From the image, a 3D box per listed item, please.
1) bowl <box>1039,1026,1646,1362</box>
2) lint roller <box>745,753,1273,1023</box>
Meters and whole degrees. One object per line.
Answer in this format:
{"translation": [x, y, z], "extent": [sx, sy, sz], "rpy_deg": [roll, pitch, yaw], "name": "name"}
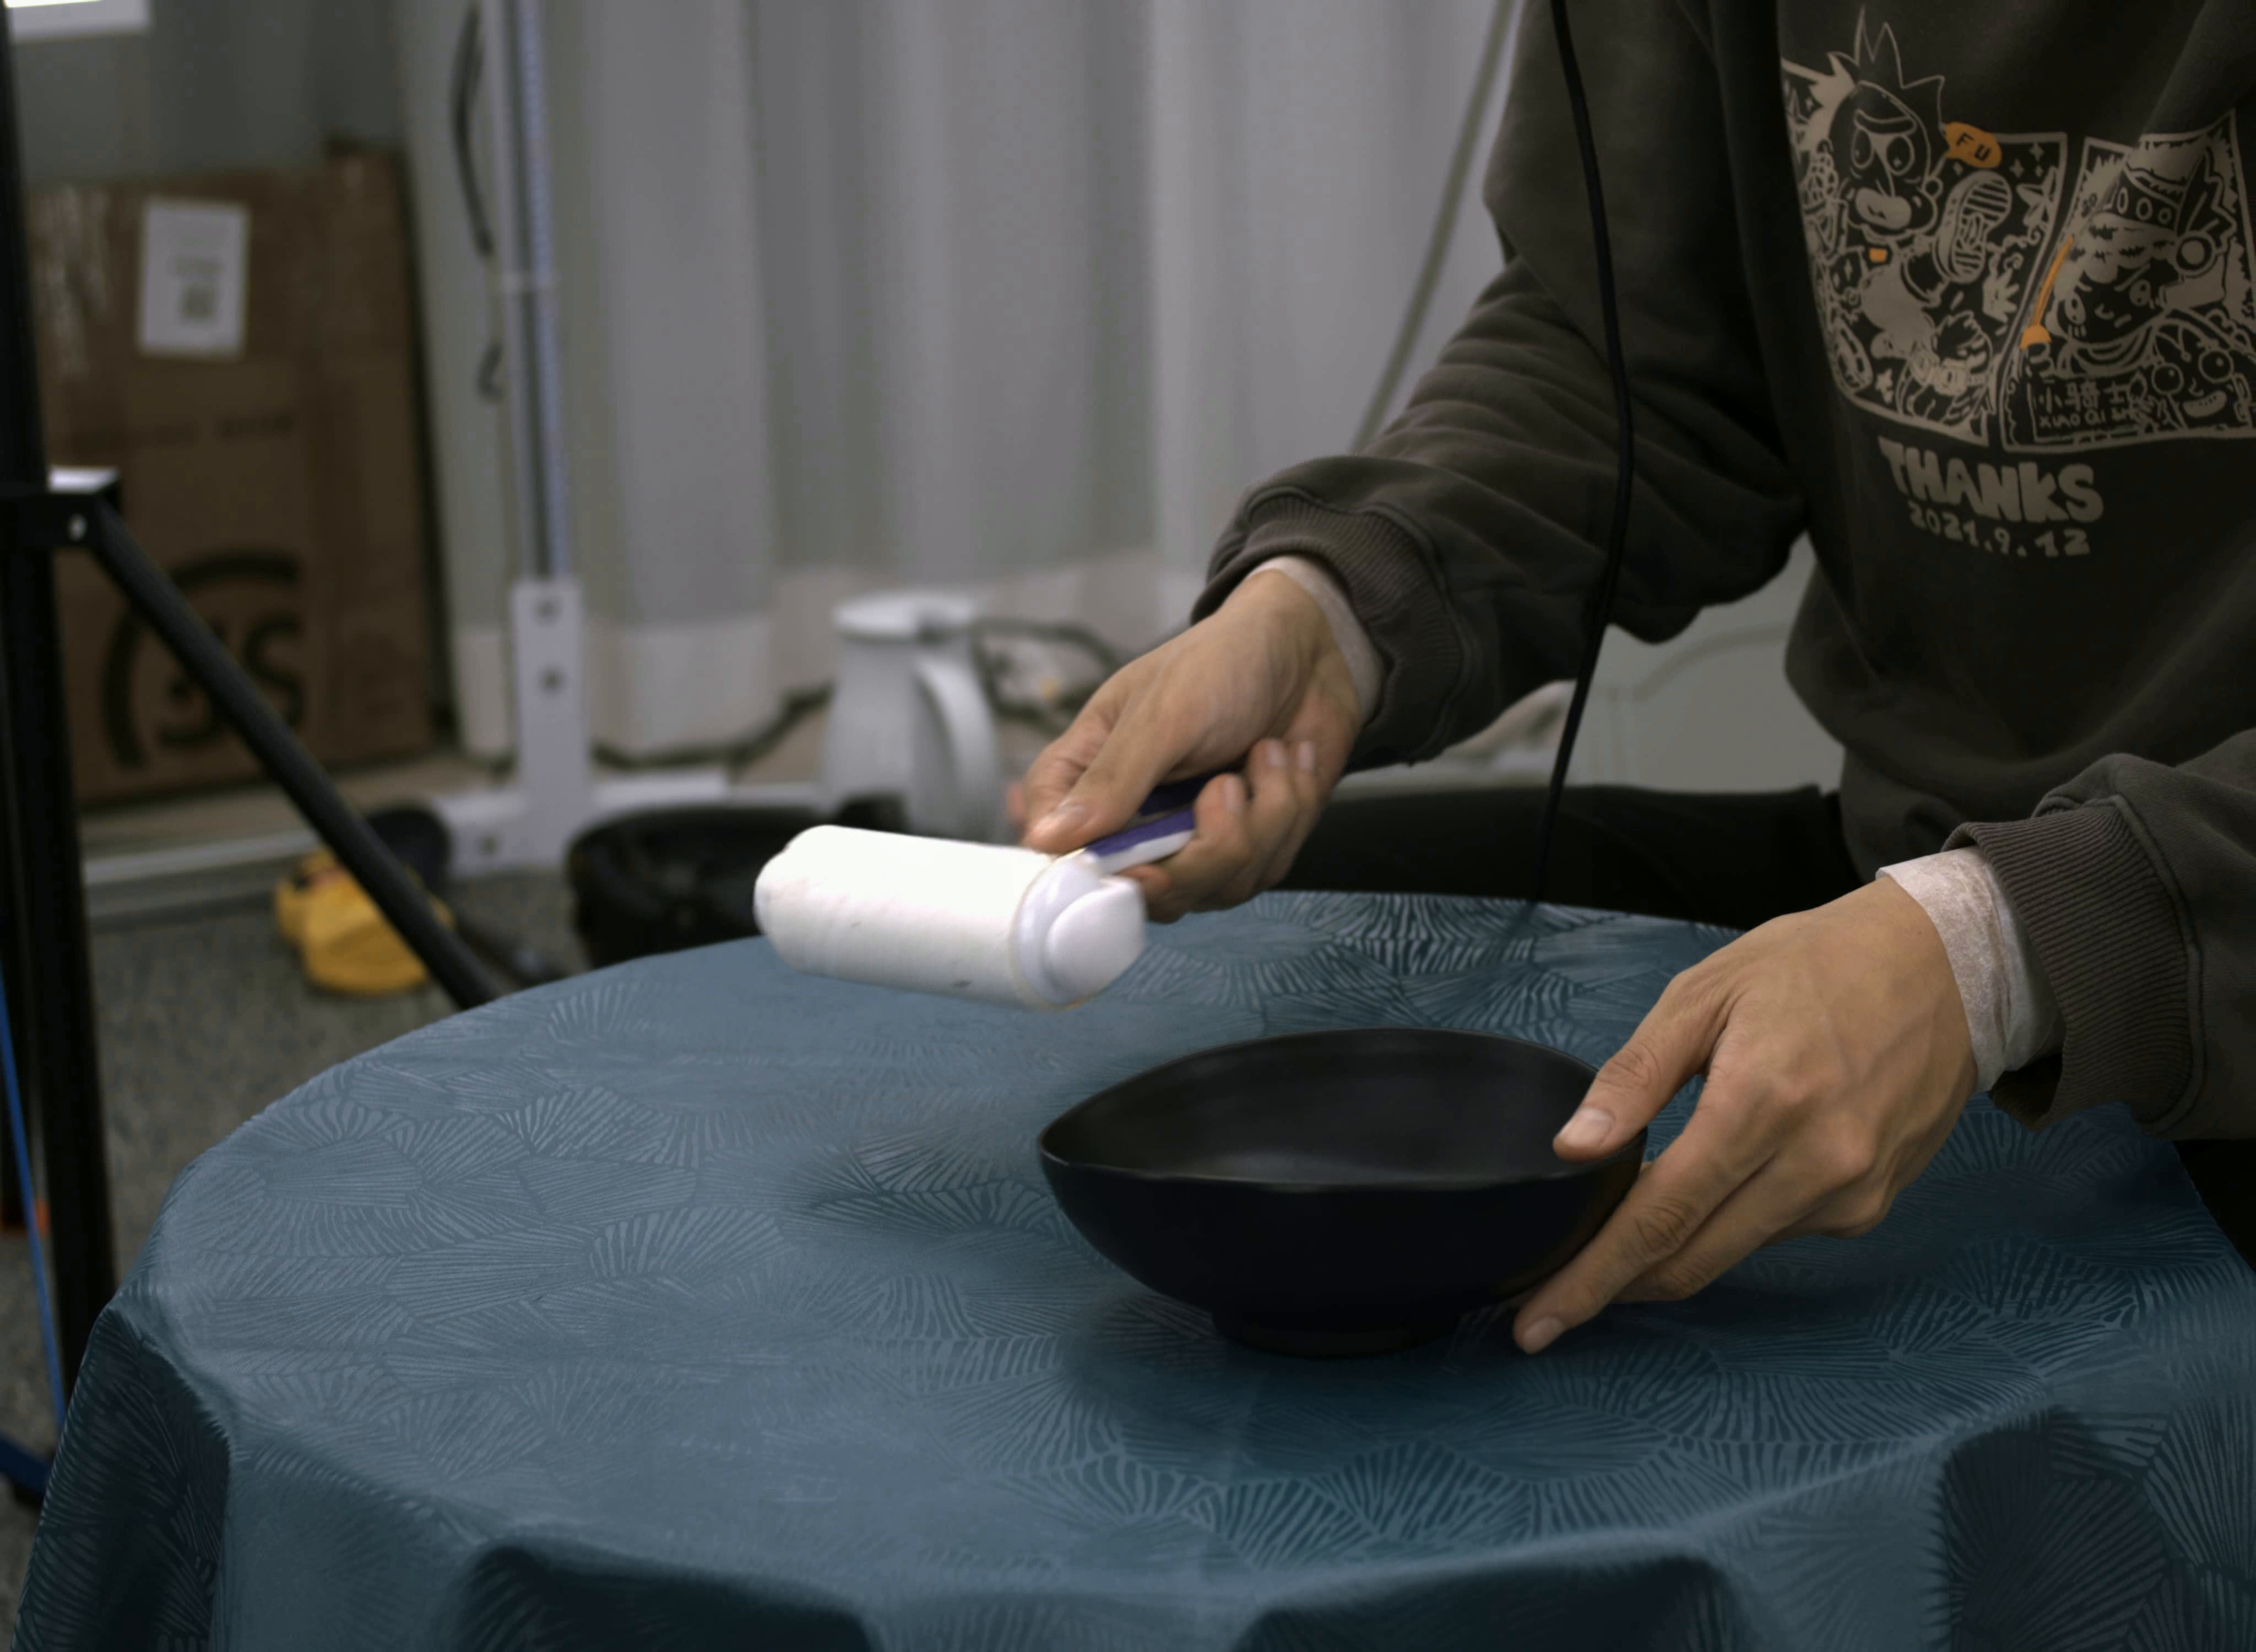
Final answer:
{"translation": [0.058, 0.105, 1.446], "extent": [0.172, 0.067, 0.136], "rpy_deg": [1, 15, 18], "name": "bowl"}
{"translation": [-0.016, 0.002, 1.617], "extent": [0.136, 0.050, 0.178], "rpy_deg": [10, 32, 44], "name": "lint roller"}
